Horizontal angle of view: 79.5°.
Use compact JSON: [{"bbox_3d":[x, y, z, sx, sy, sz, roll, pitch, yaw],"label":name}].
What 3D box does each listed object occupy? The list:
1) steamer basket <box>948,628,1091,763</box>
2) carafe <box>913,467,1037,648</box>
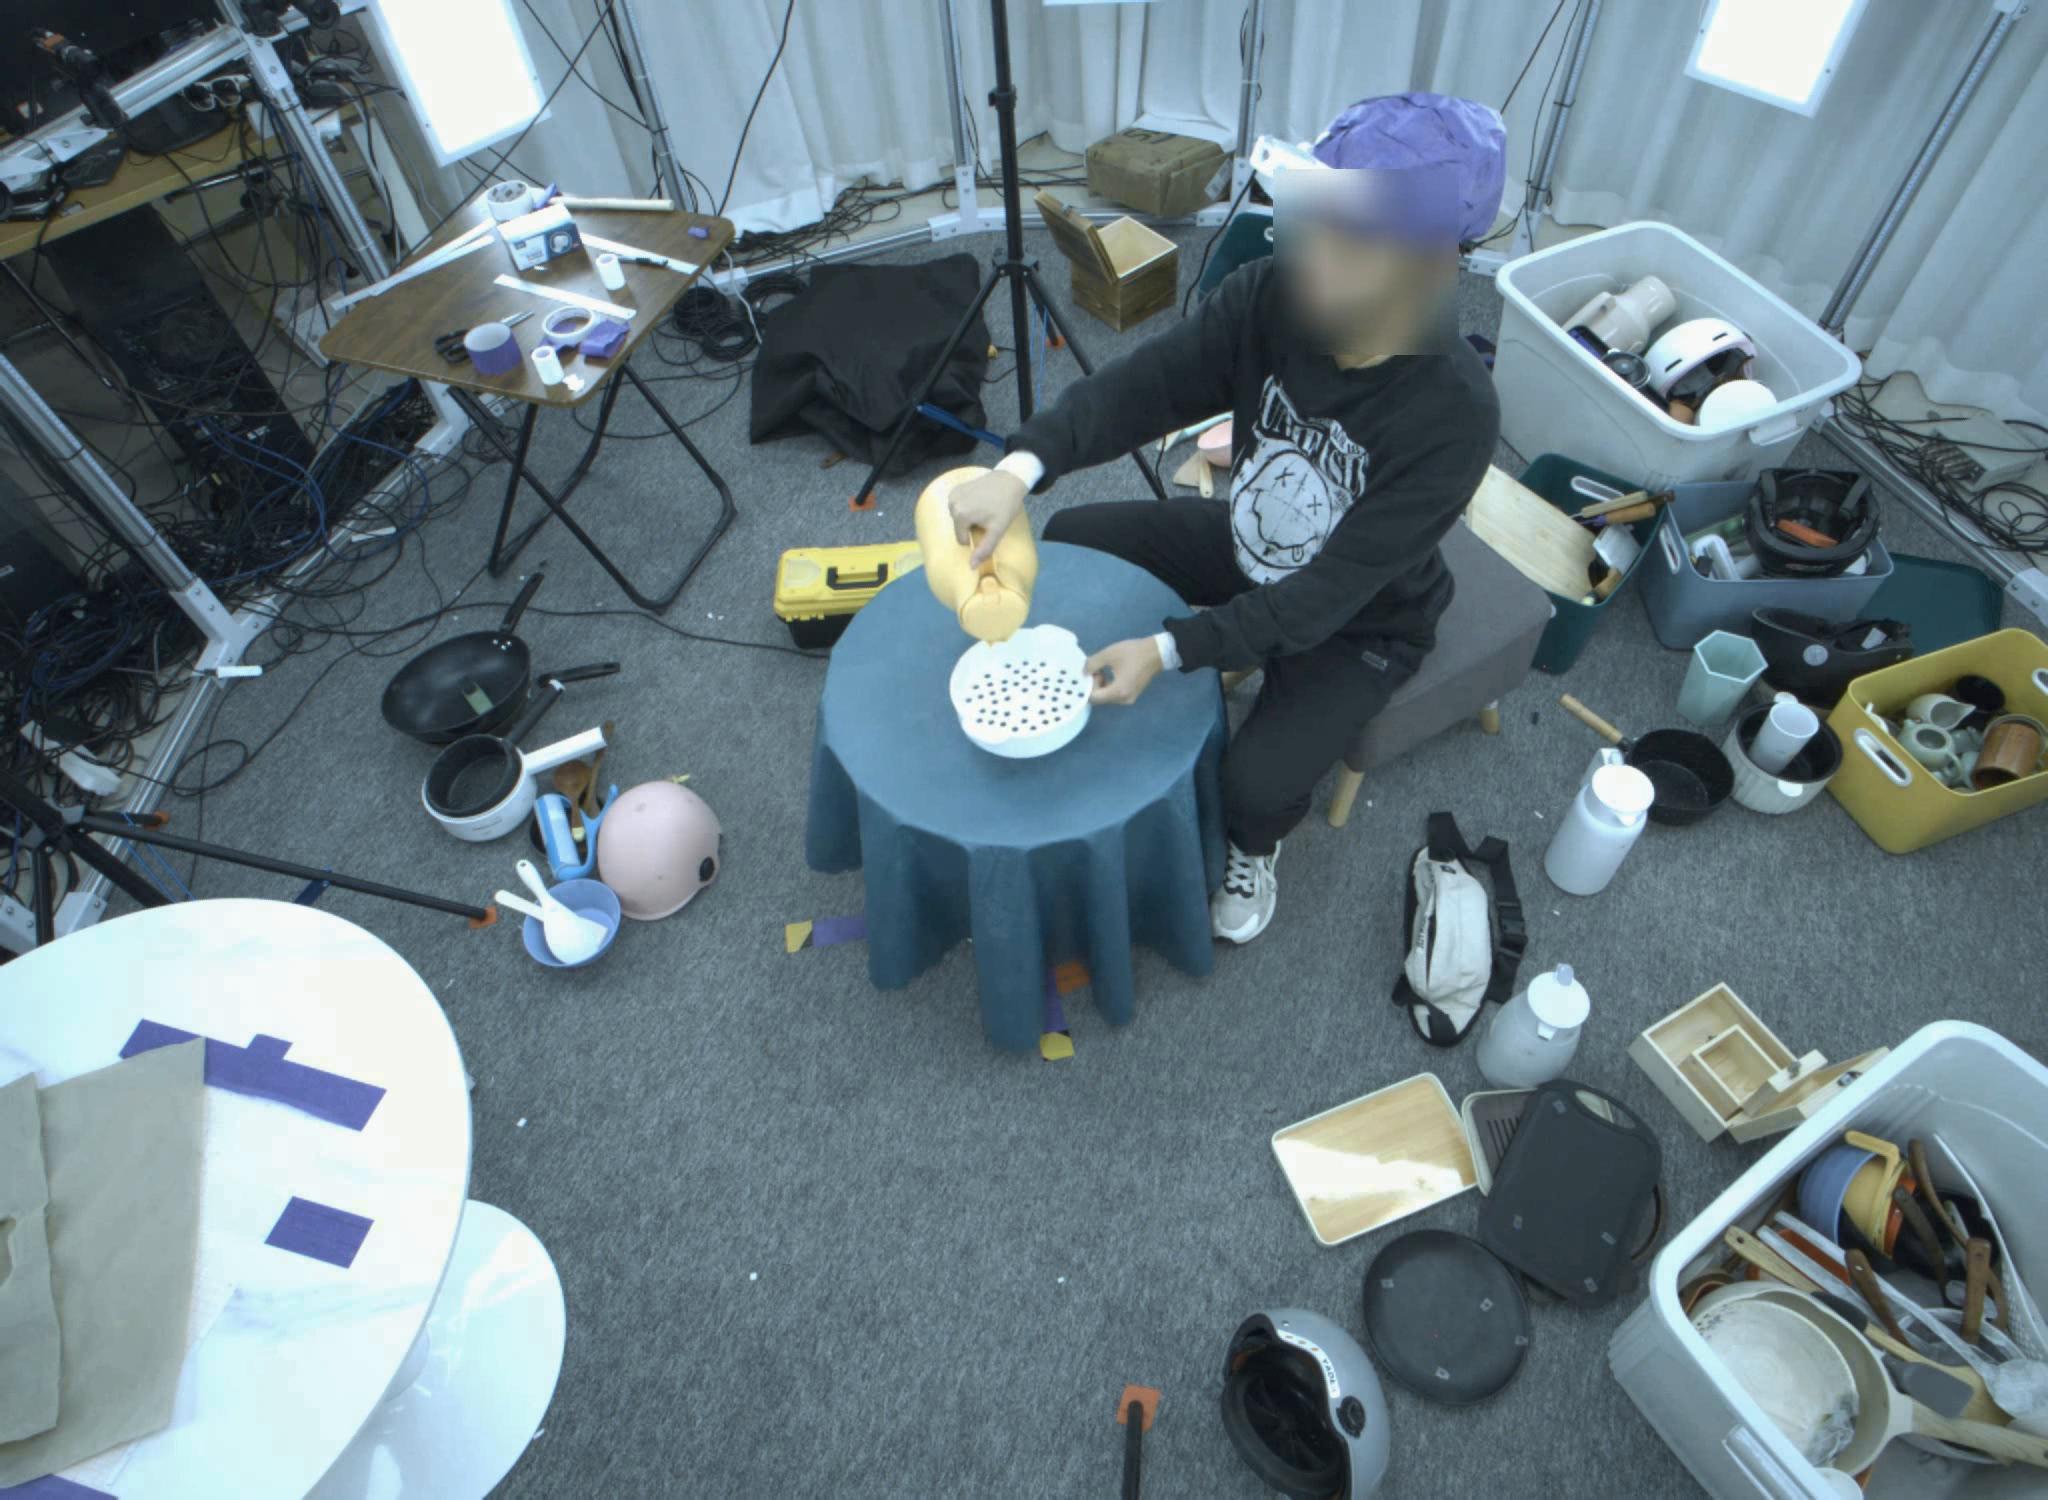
[{"bbox_3d":[-0.004,-0.074,1.747,0.199,0.070,0.231,23,58,20],"label":"steamer basket"},{"bbox_3d":[-0.064,-0.284,1.711,0.164,0.204,0.256,-11,52,-6],"label":"carafe"}]
